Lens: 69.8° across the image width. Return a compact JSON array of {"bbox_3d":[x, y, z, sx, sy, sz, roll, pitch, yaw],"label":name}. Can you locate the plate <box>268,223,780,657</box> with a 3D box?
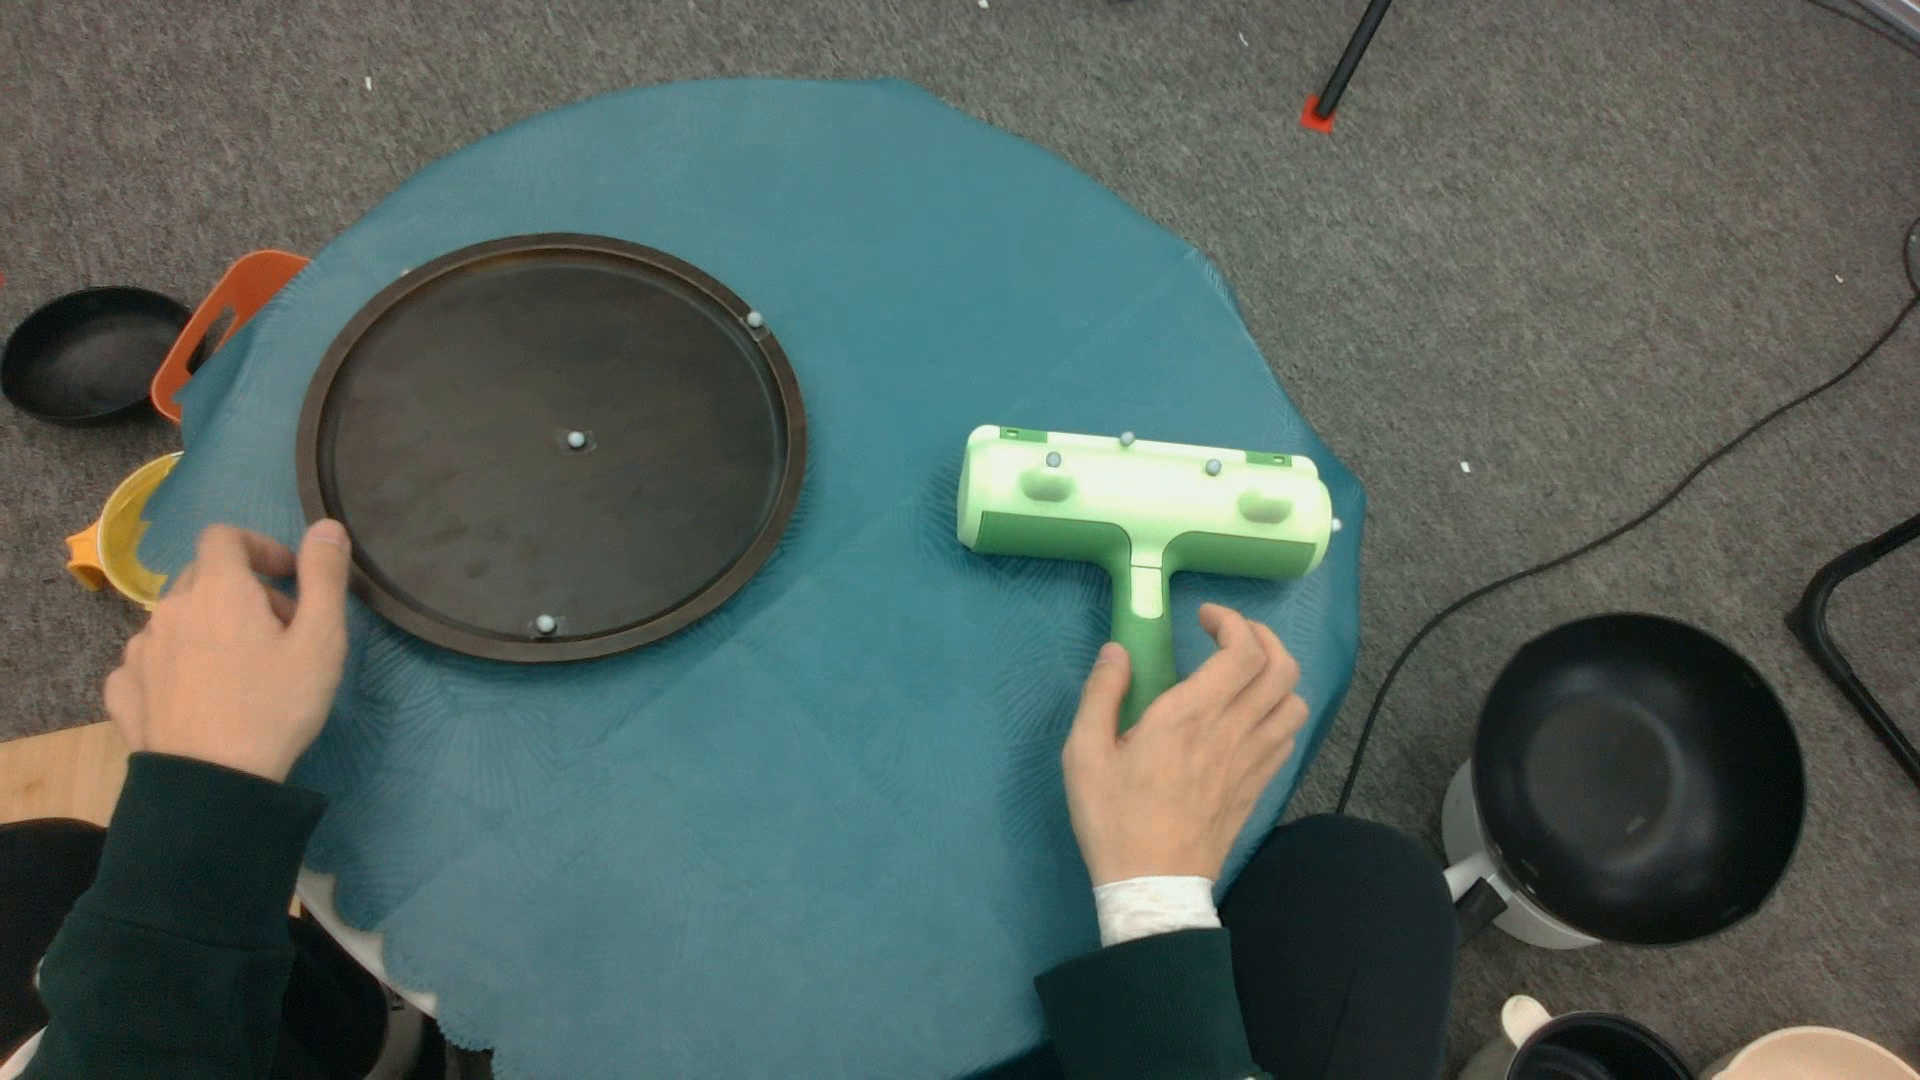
[{"bbox_3d":[-0.221,-0.057,0.716,0.255,0.029,0.255,5,63,-9],"label":"plate"}]

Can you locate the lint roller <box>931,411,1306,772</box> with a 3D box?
[{"bbox_3d":[0.085,0.020,0.704,0.199,0.082,0.184,5,61,-8],"label":"lint roller"}]
